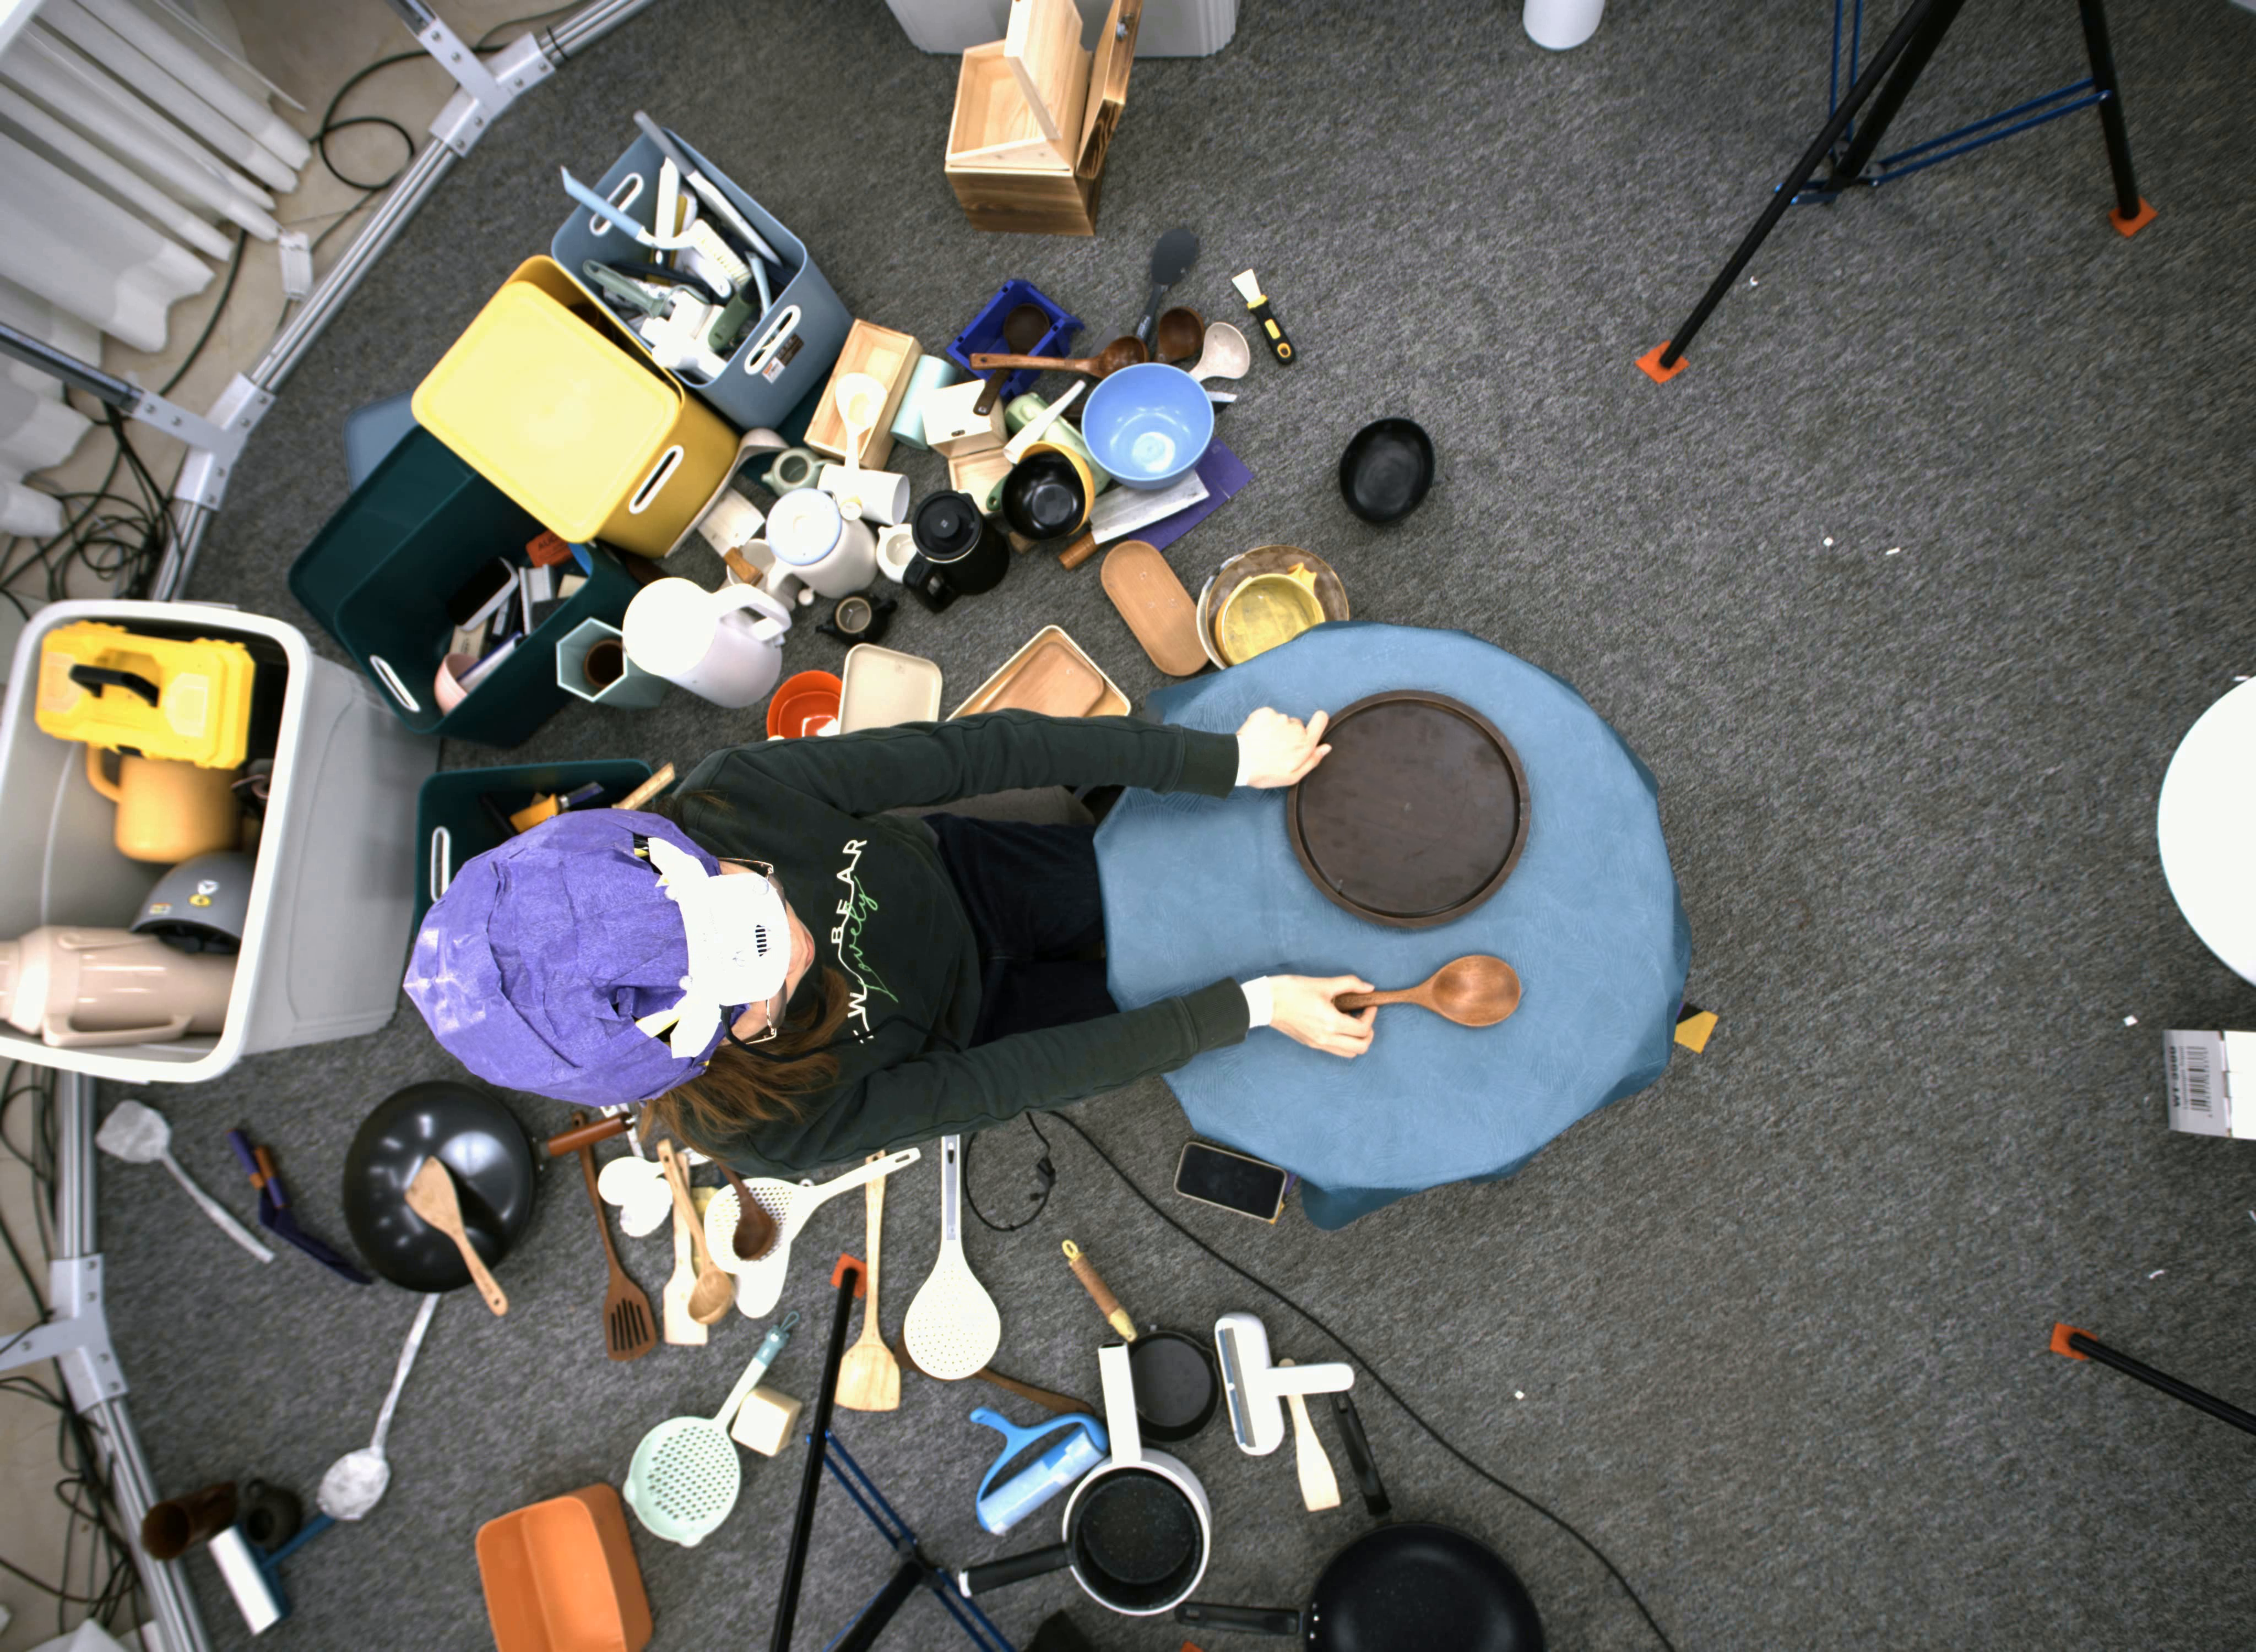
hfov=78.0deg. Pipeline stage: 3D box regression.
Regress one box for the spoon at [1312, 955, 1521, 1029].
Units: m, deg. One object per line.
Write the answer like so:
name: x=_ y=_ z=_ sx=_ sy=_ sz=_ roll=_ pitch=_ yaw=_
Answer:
spoon: x=0.300 y=0.178 z=1.443 sx=0.217 sy=0.017 sz=0.075 roll=-6 pitch=85 yaw=10

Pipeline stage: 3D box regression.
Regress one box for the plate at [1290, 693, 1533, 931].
plate: x=0.297 y=-0.017 z=1.455 sx=0.256 sy=0.029 sz=0.253 roll=-1 pitch=85 yaw=10
